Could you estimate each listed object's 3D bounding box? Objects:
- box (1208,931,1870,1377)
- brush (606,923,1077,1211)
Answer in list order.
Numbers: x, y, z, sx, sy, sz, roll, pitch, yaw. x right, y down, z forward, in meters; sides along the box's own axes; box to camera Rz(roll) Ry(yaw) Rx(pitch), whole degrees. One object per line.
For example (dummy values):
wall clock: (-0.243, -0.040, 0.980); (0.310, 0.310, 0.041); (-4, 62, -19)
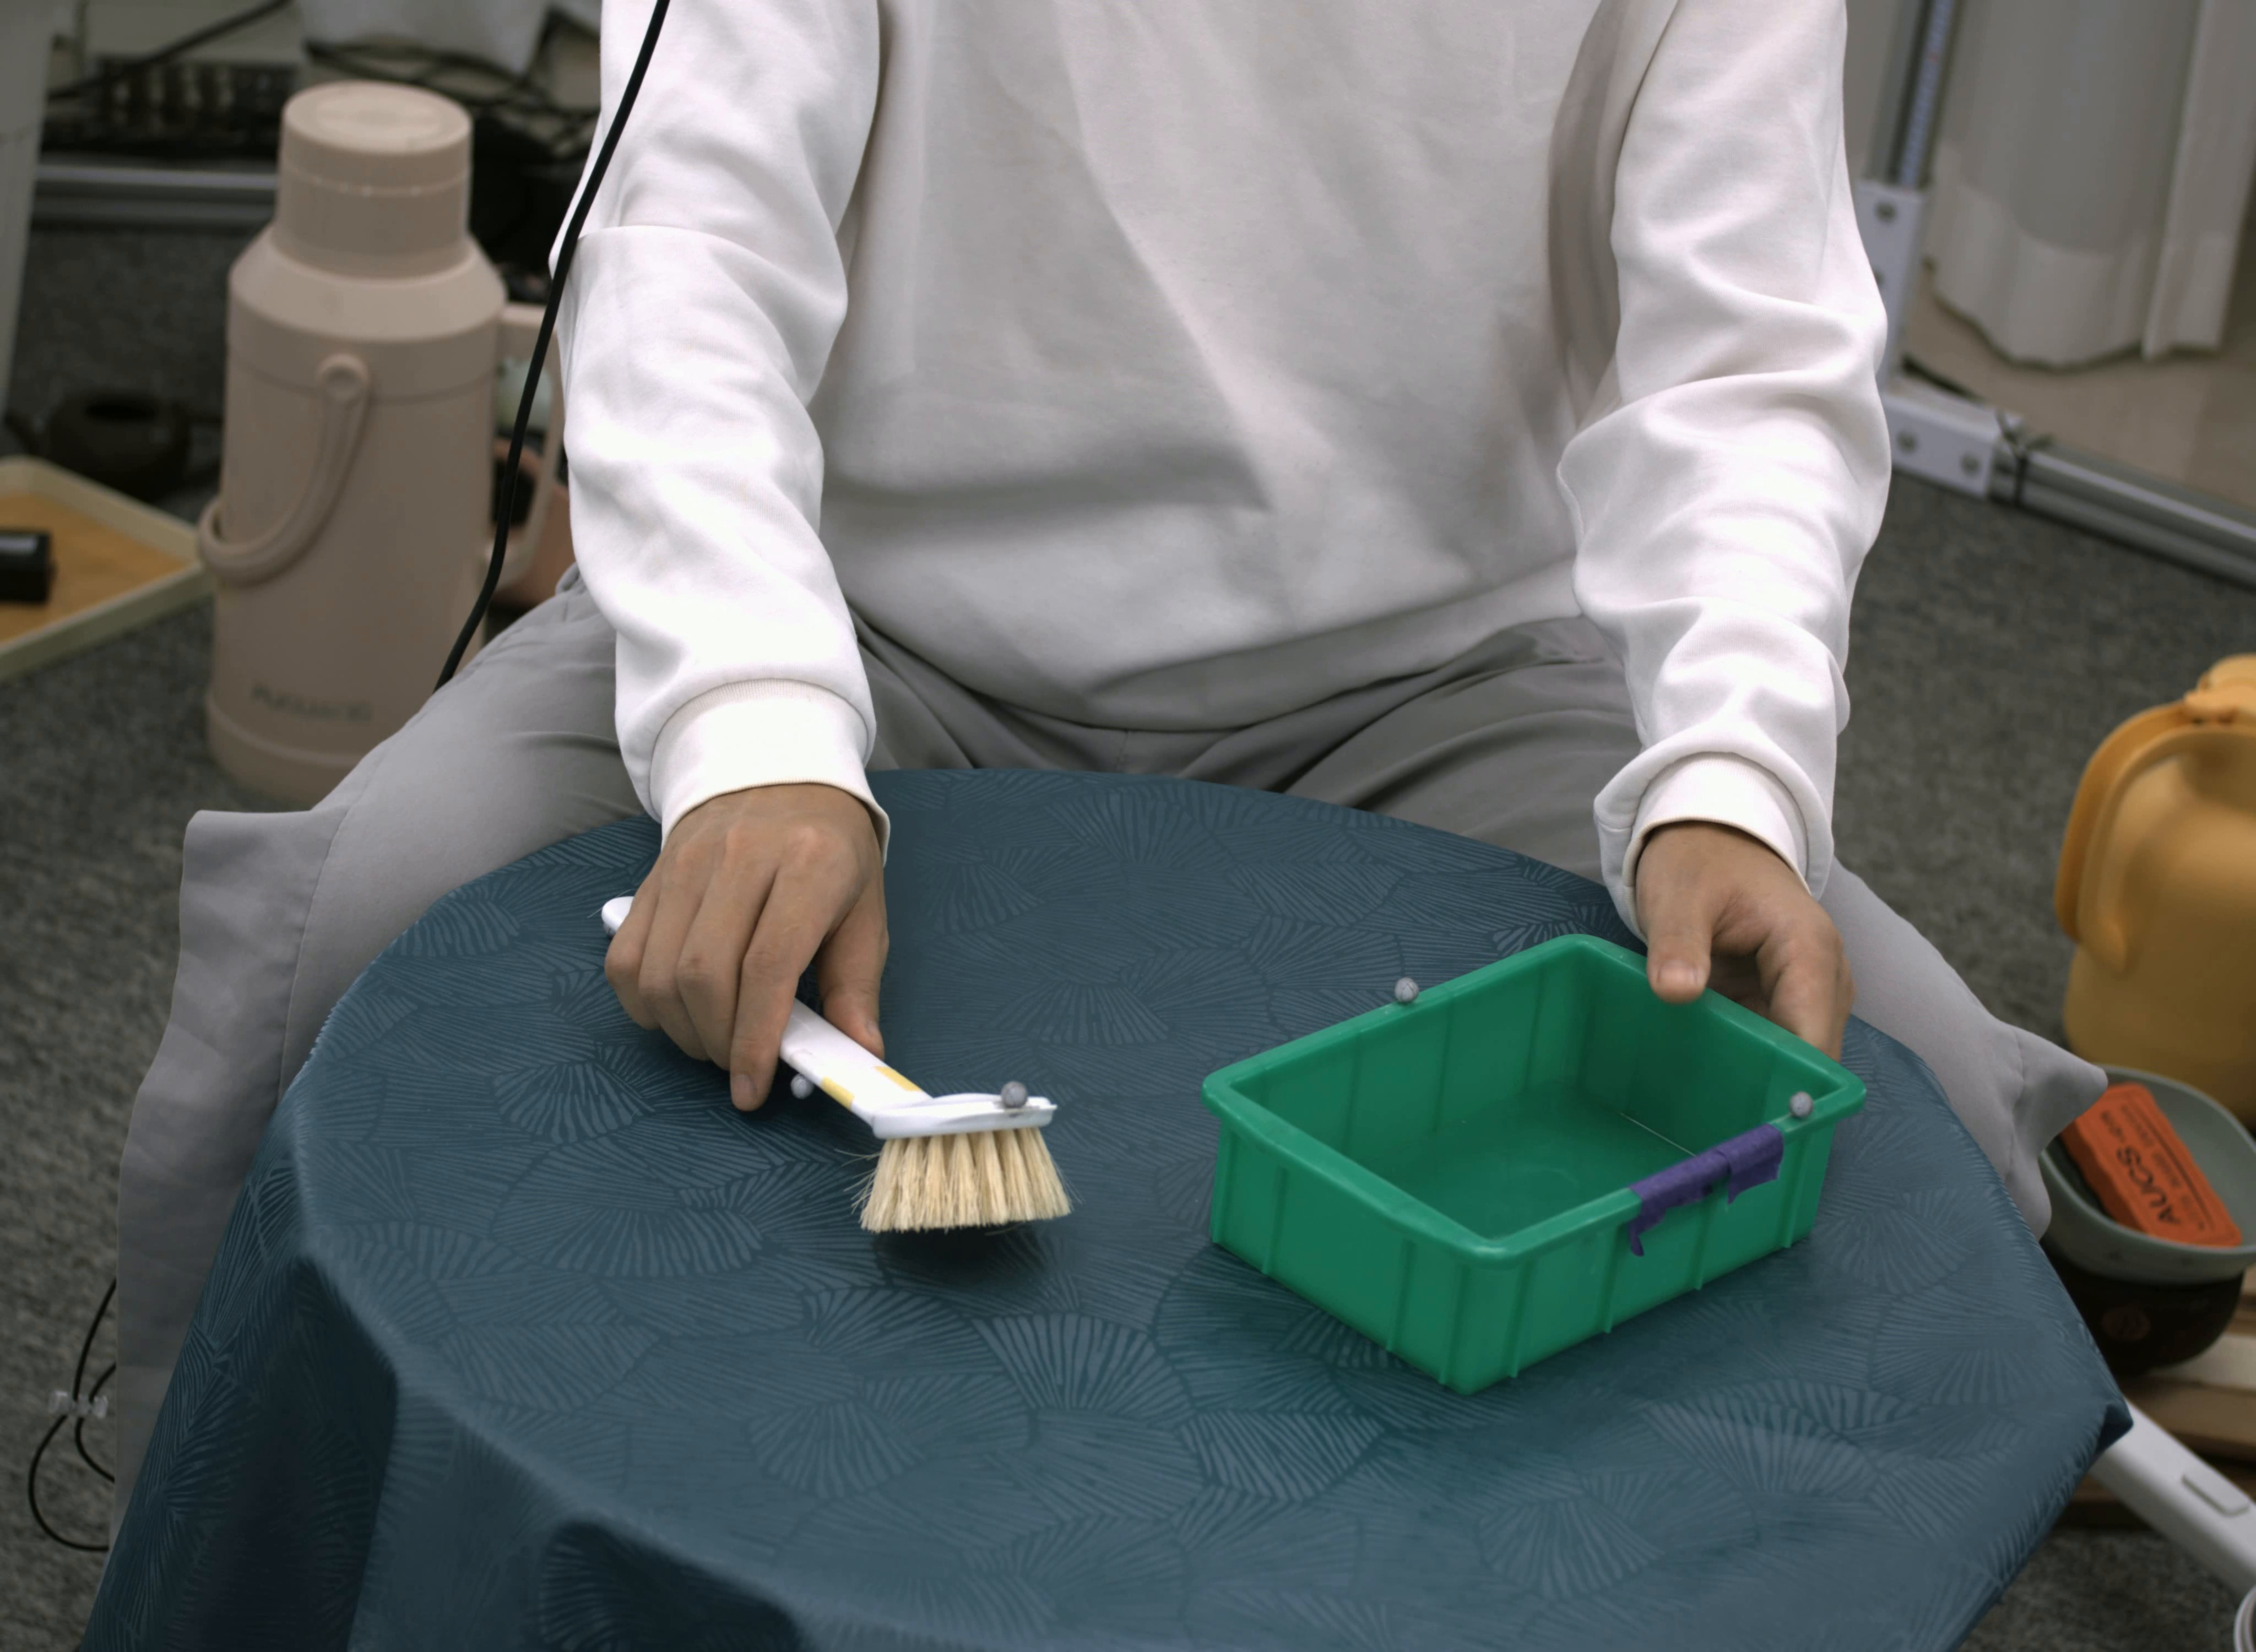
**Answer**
box: (0.136, 0.110, 1.795); (0.140, 0.065, 0.209); (29, 32, 37)
brush: (-0.107, 0.086, 1.834); (0.068, 0.056, 0.268); (7, 6, -38)
